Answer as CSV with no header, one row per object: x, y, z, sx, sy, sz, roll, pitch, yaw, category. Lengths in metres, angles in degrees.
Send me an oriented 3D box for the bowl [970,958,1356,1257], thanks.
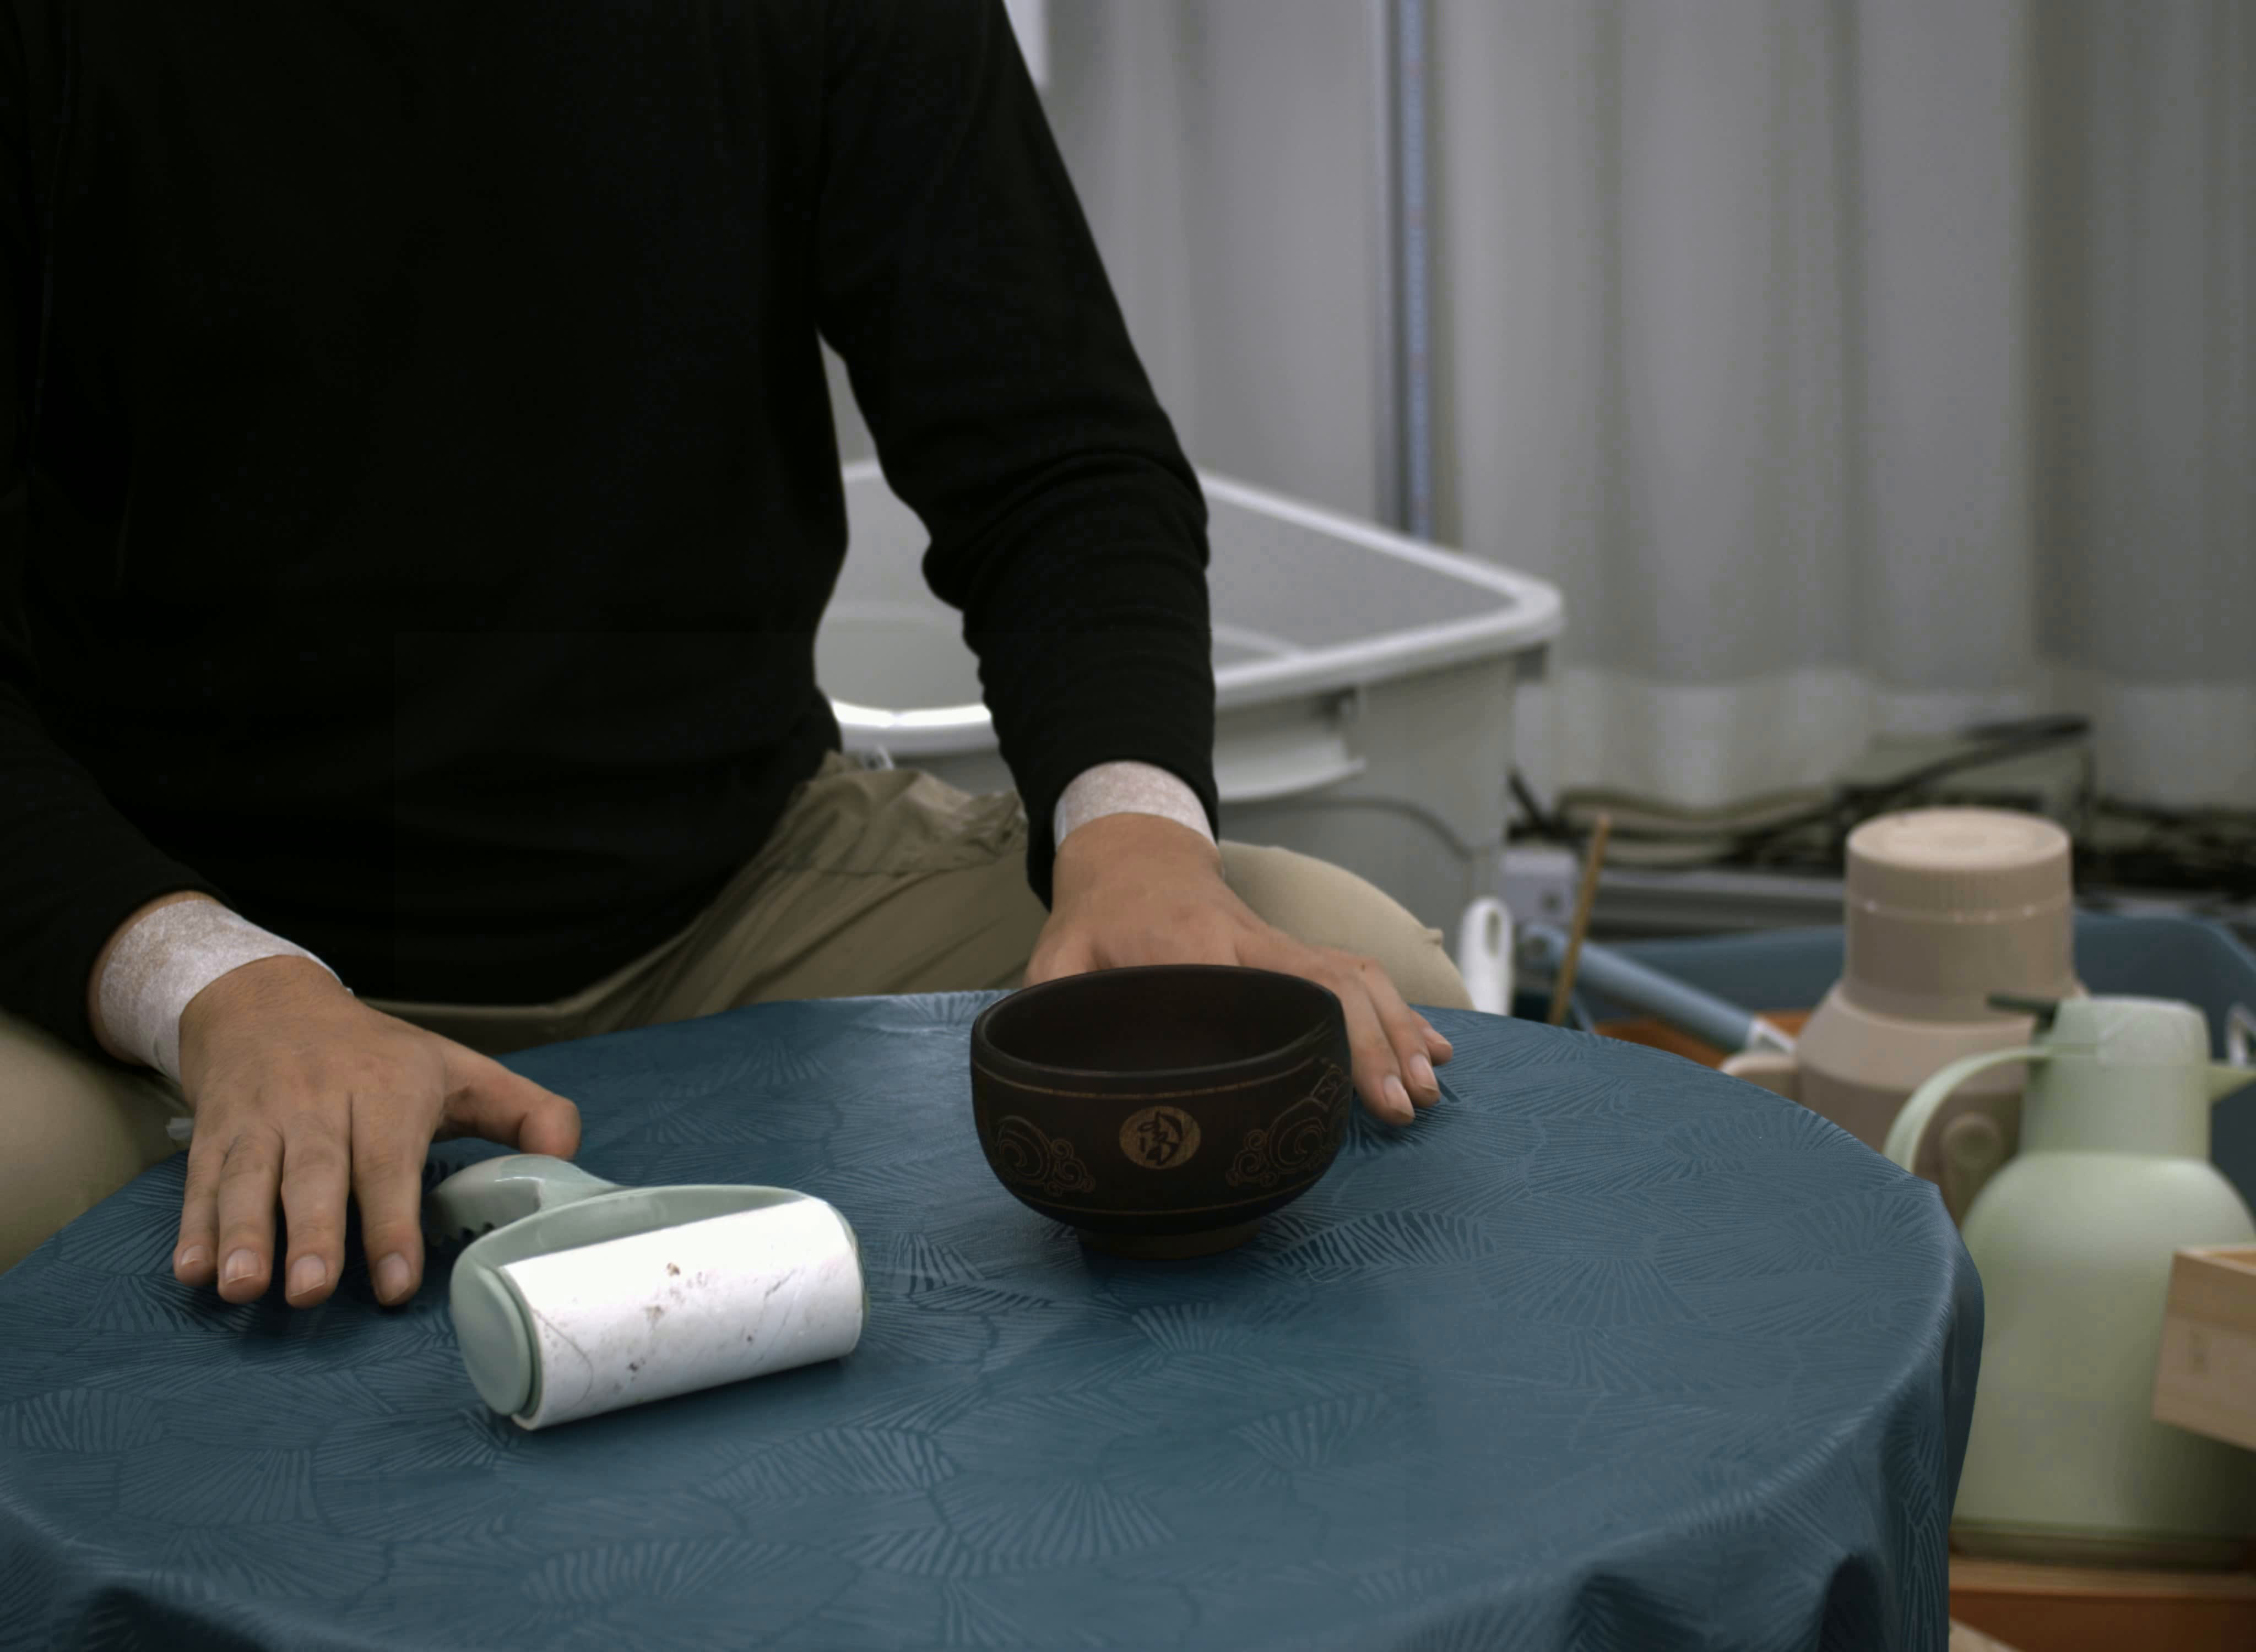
0.012,0.090,1.668,0.117,0.069,0.119,-4,14,1,bowl

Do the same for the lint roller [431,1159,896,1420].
-0.159,0.124,1.624,0.116,0.048,0.199,-12,16,-28,lint roller
